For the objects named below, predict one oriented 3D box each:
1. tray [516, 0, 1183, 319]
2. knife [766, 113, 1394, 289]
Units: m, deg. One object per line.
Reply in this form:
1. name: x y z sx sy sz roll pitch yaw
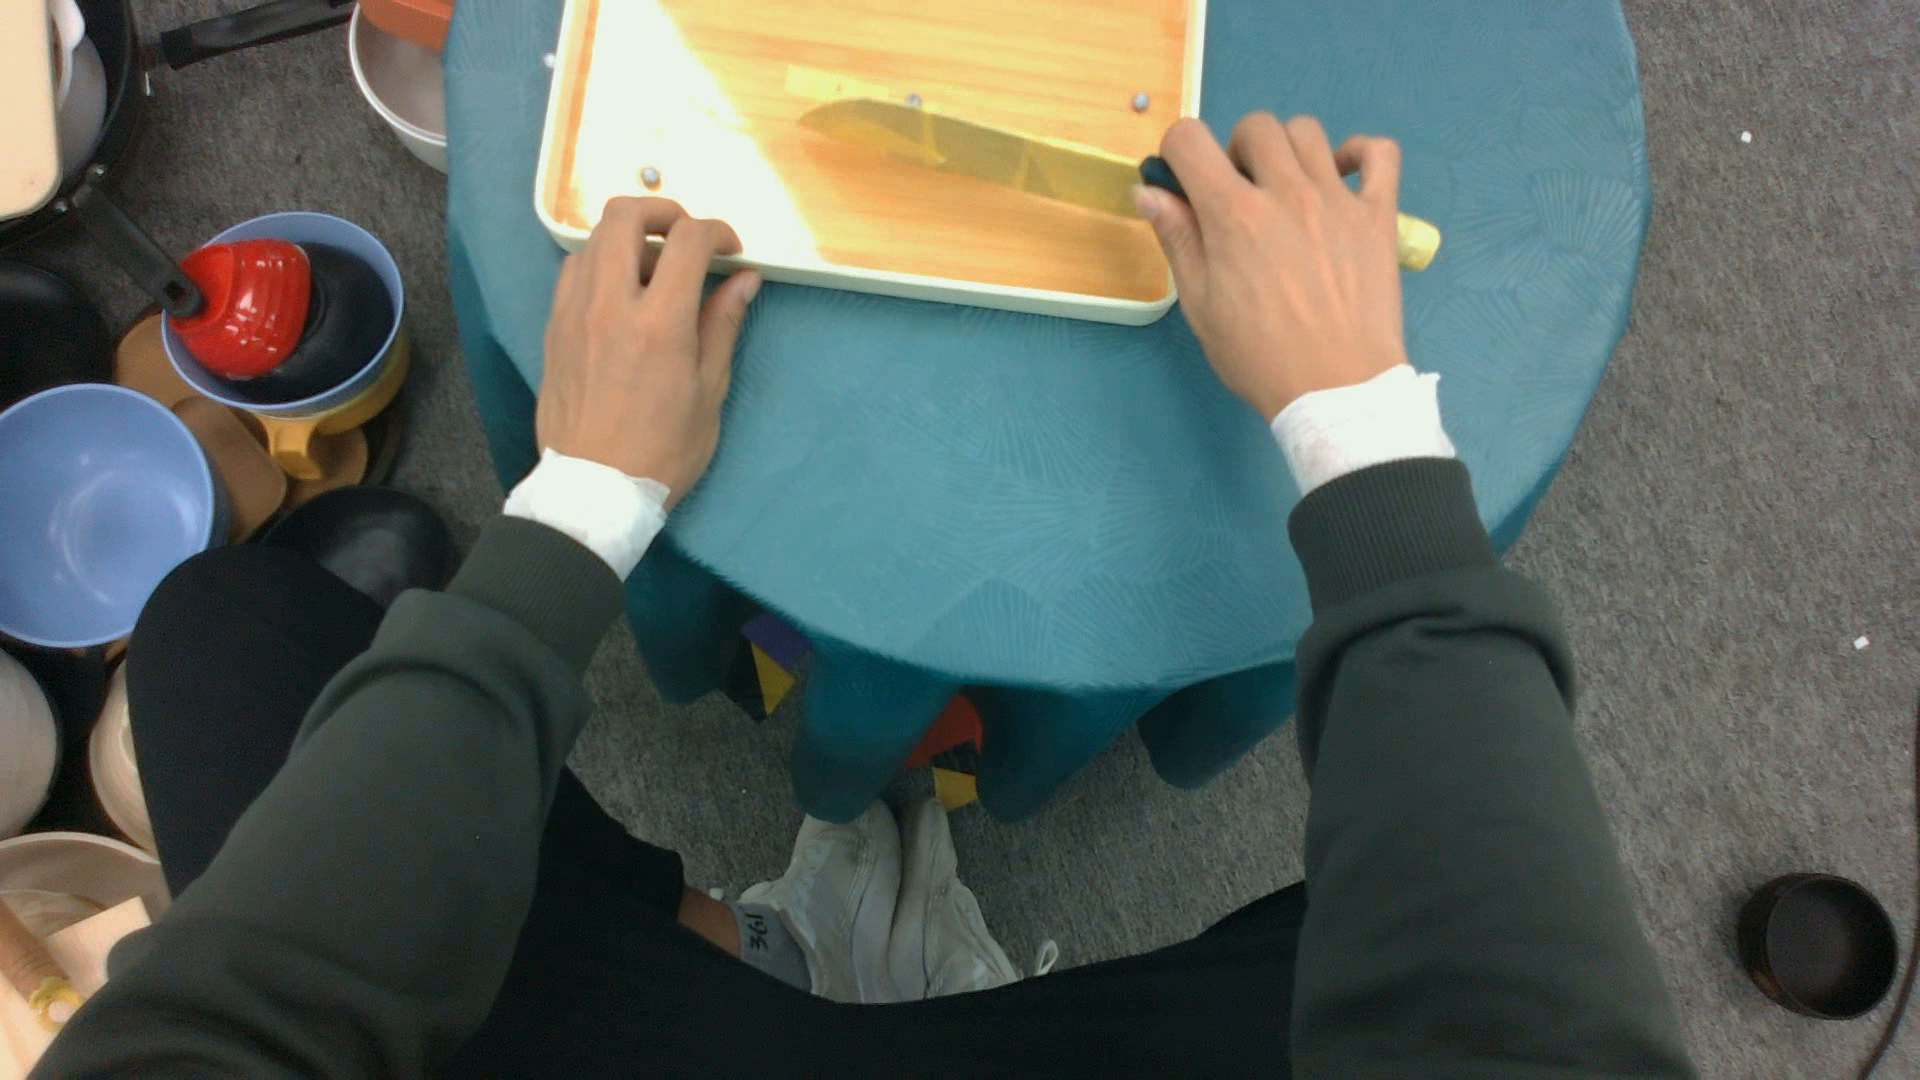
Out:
1. tray: -0.046 -0.214 0.659 0.300 0.027 0.192 6 79 -5
2. knife: 0.051 -0.155 0.625 0.289 0.081 0.027 14 89 1
